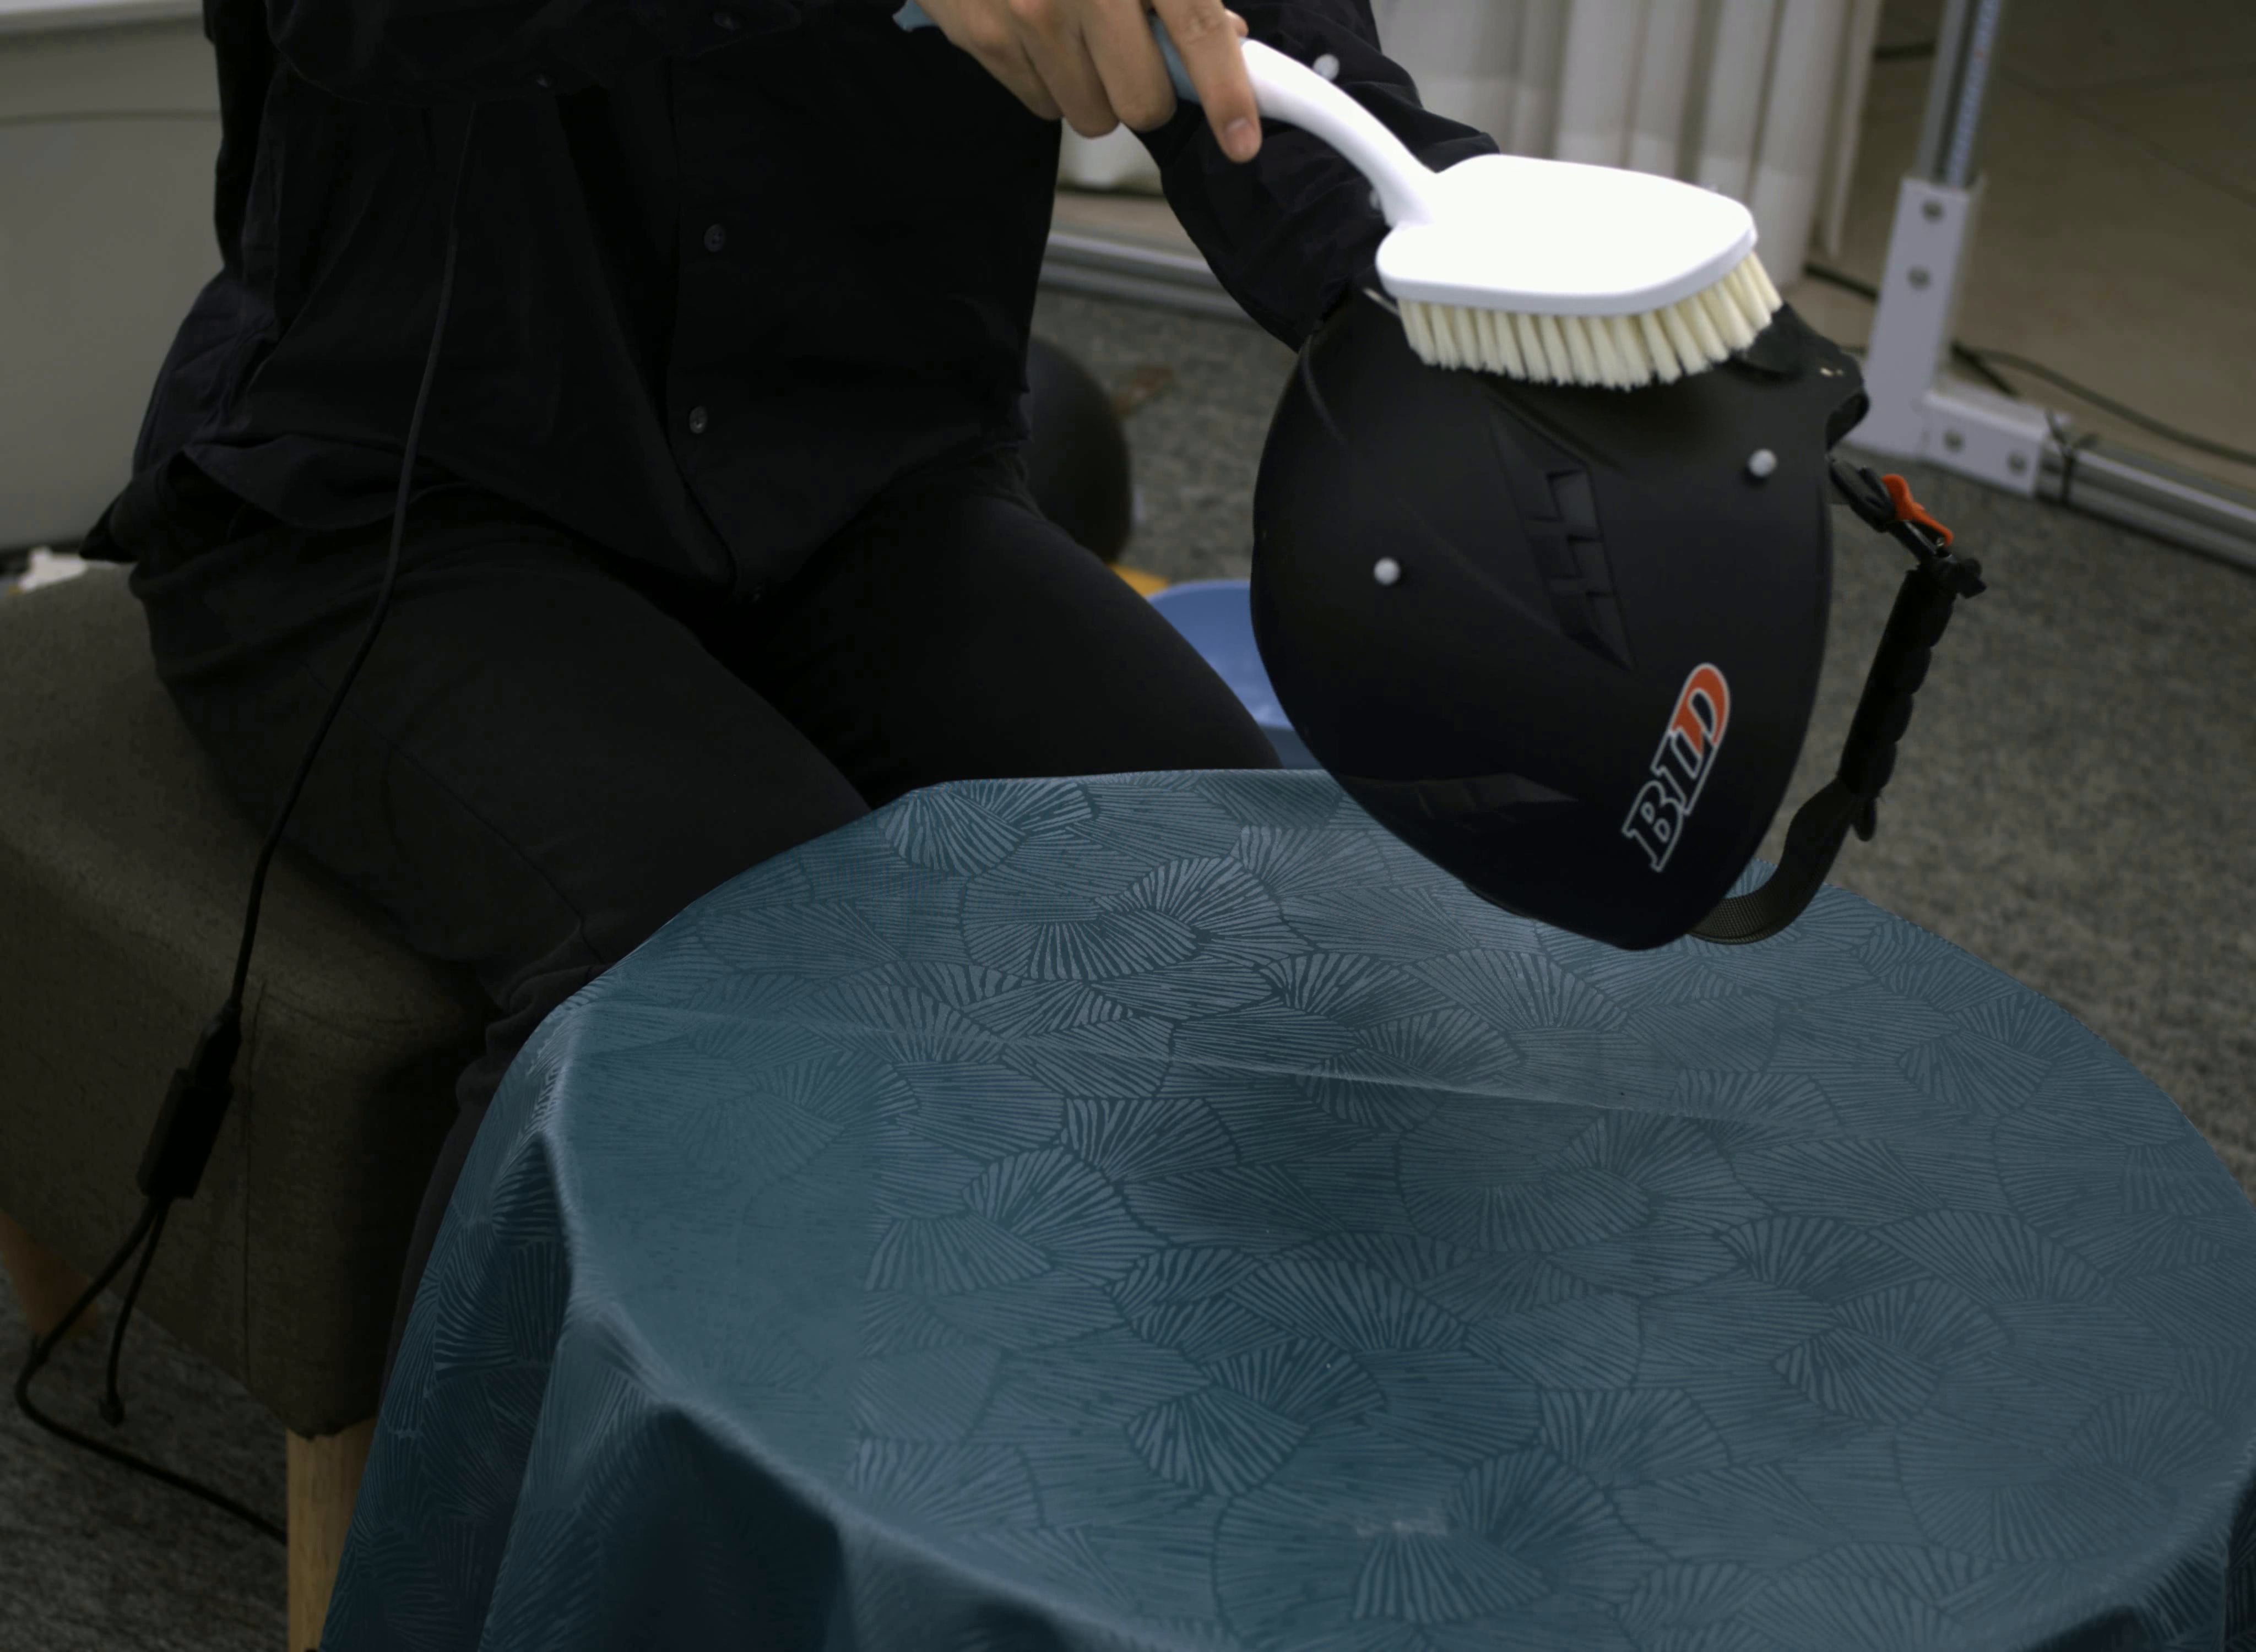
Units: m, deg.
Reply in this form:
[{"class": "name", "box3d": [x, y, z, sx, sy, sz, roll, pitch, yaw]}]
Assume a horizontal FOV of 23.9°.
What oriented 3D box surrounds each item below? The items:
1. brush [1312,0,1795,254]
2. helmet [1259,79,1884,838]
[{"class": "brush", "box3d": [0.073, -0.251, 1.766, 0.327, 0.084, 0.082, 20, 14, 27]}, {"class": "helmet", "box3d": [0.139, -0.132, 1.804, 0.171, 0.246, 0.279, 10, 28, -18]}]
